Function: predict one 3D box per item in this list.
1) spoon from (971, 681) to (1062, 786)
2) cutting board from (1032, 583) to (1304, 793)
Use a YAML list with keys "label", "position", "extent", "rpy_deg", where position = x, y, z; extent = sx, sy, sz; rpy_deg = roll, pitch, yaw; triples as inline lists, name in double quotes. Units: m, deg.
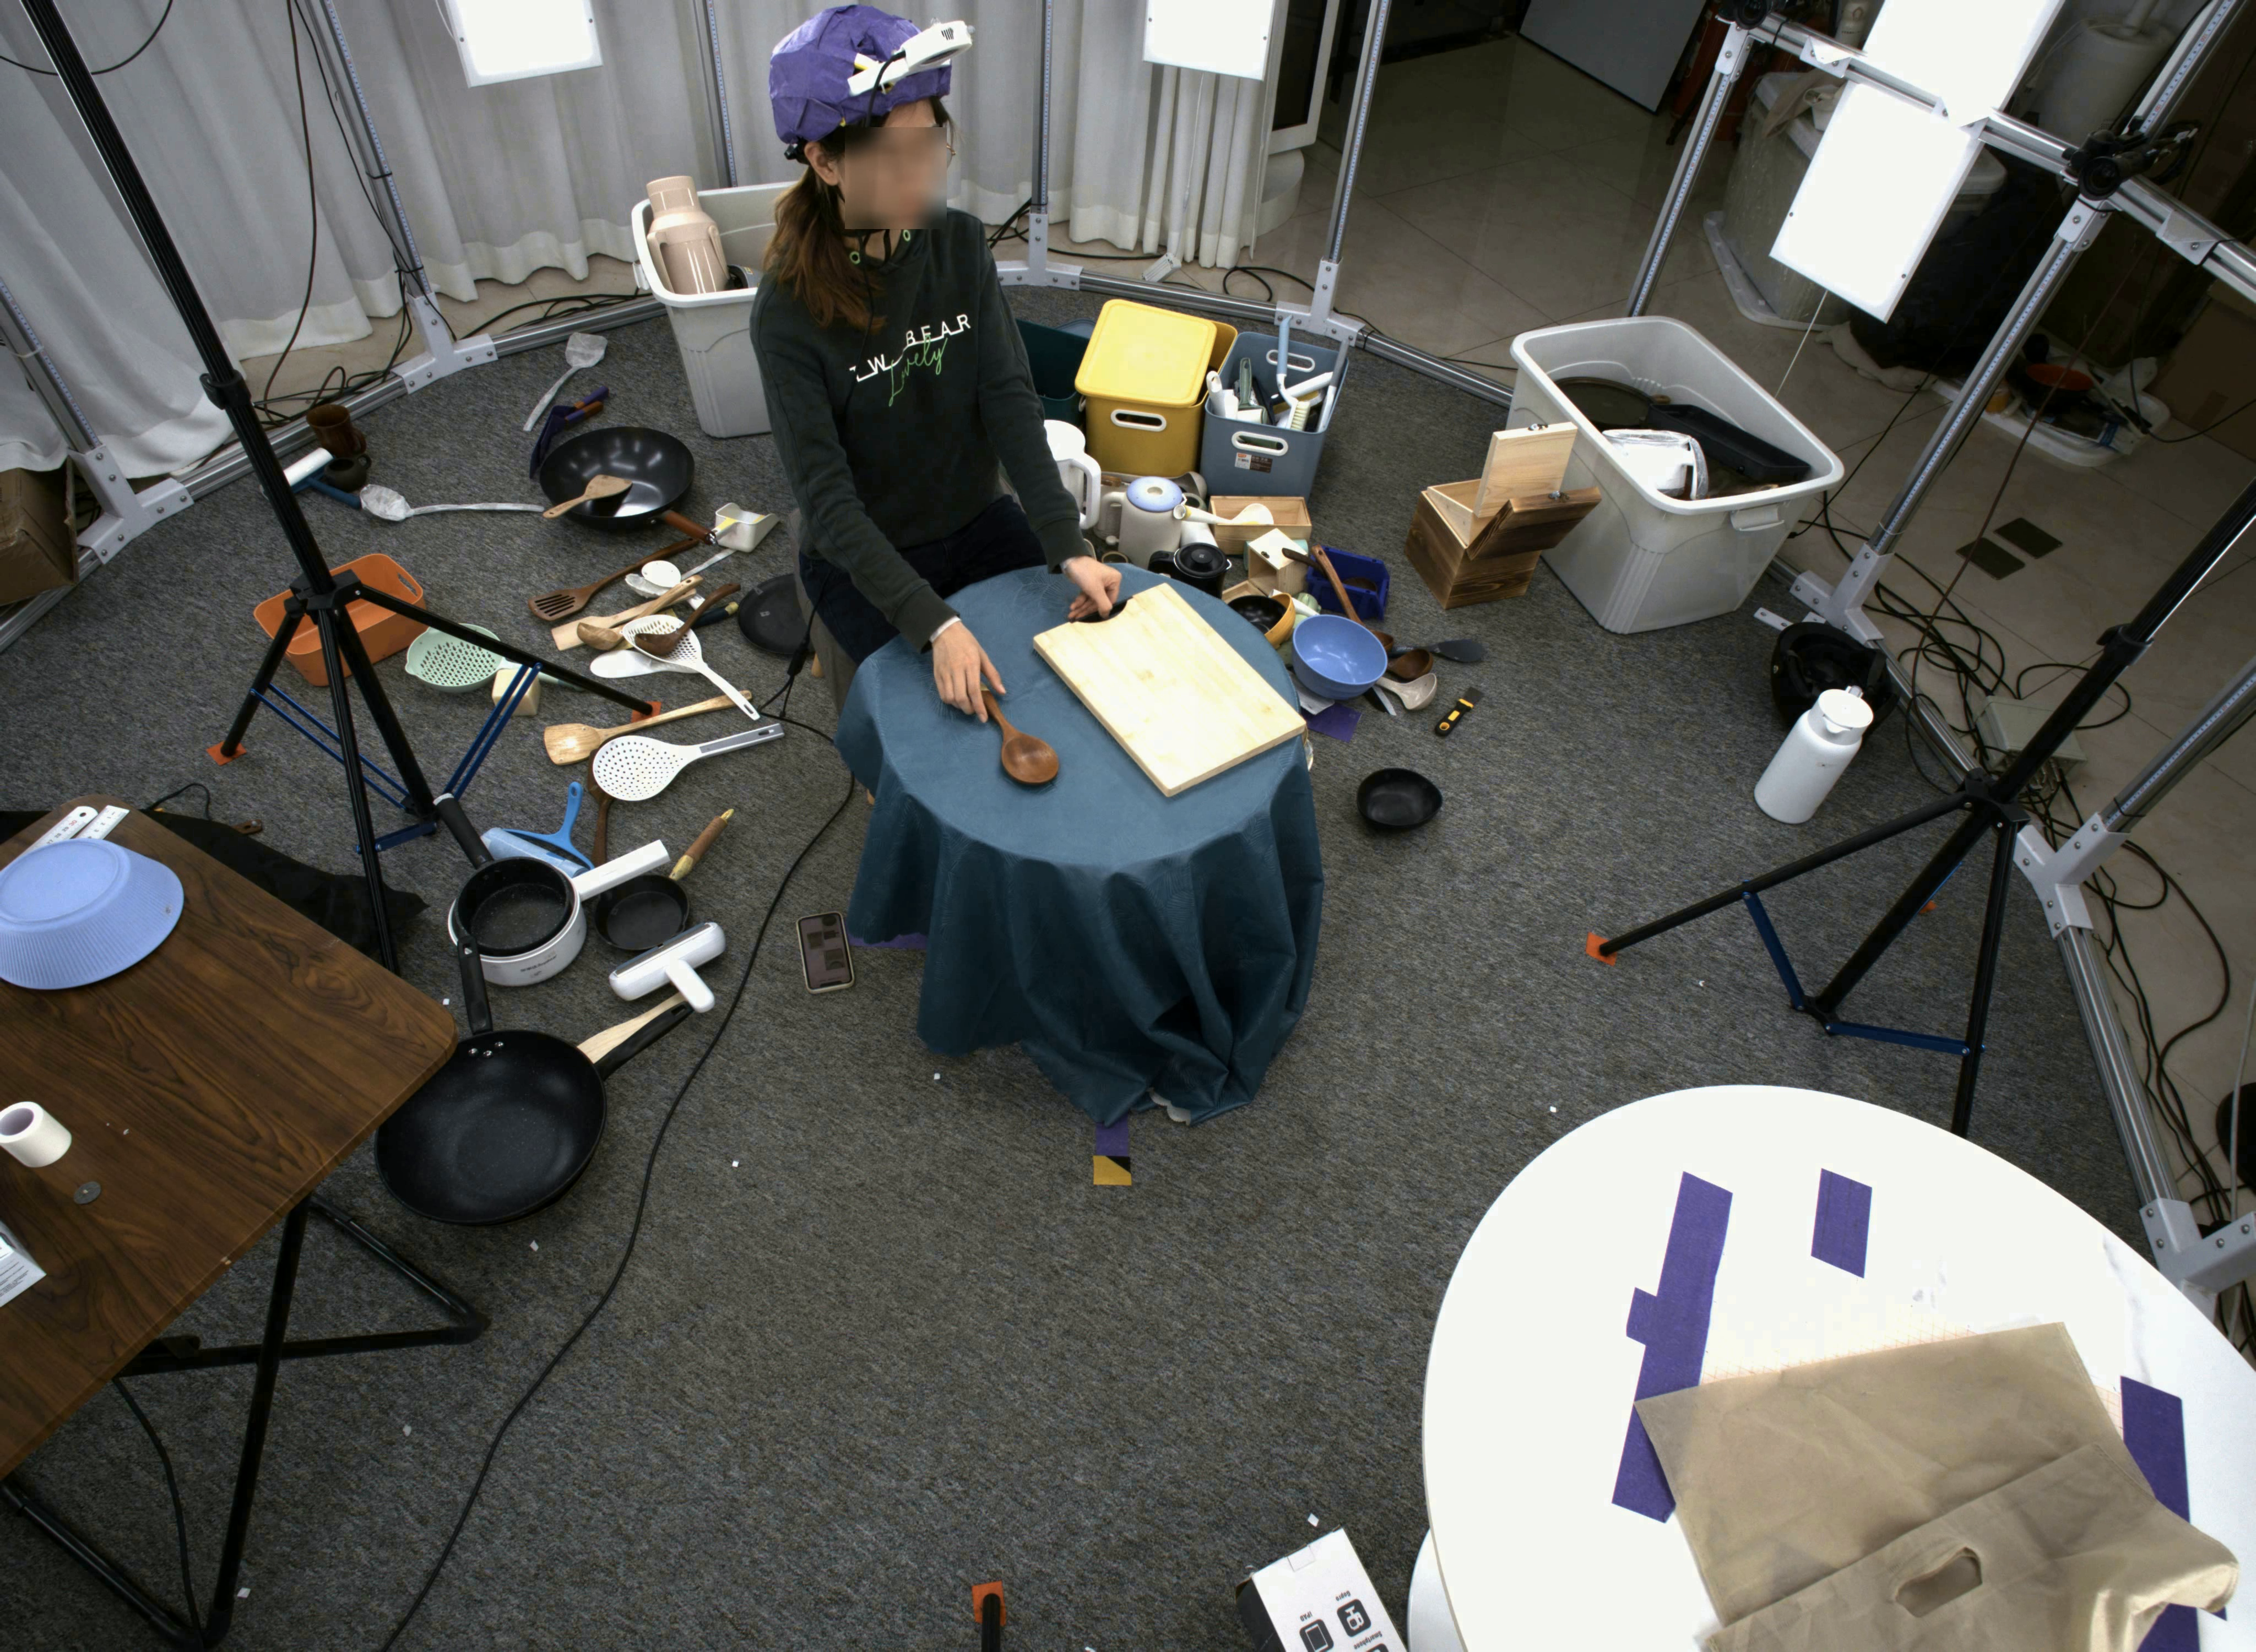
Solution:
- label: "spoon"
  position: [-0.161, -0.129, 1.774]
  extent: [0.076, 0.017, 0.220]
  rpy_deg: [-22, 54, -20]
- label: "cutting board"
  position: [0.053, -0.207, 1.855]
  extent: [0.252, 0.023, 0.355]
  rpy_deg: [-26, 56, -25]
